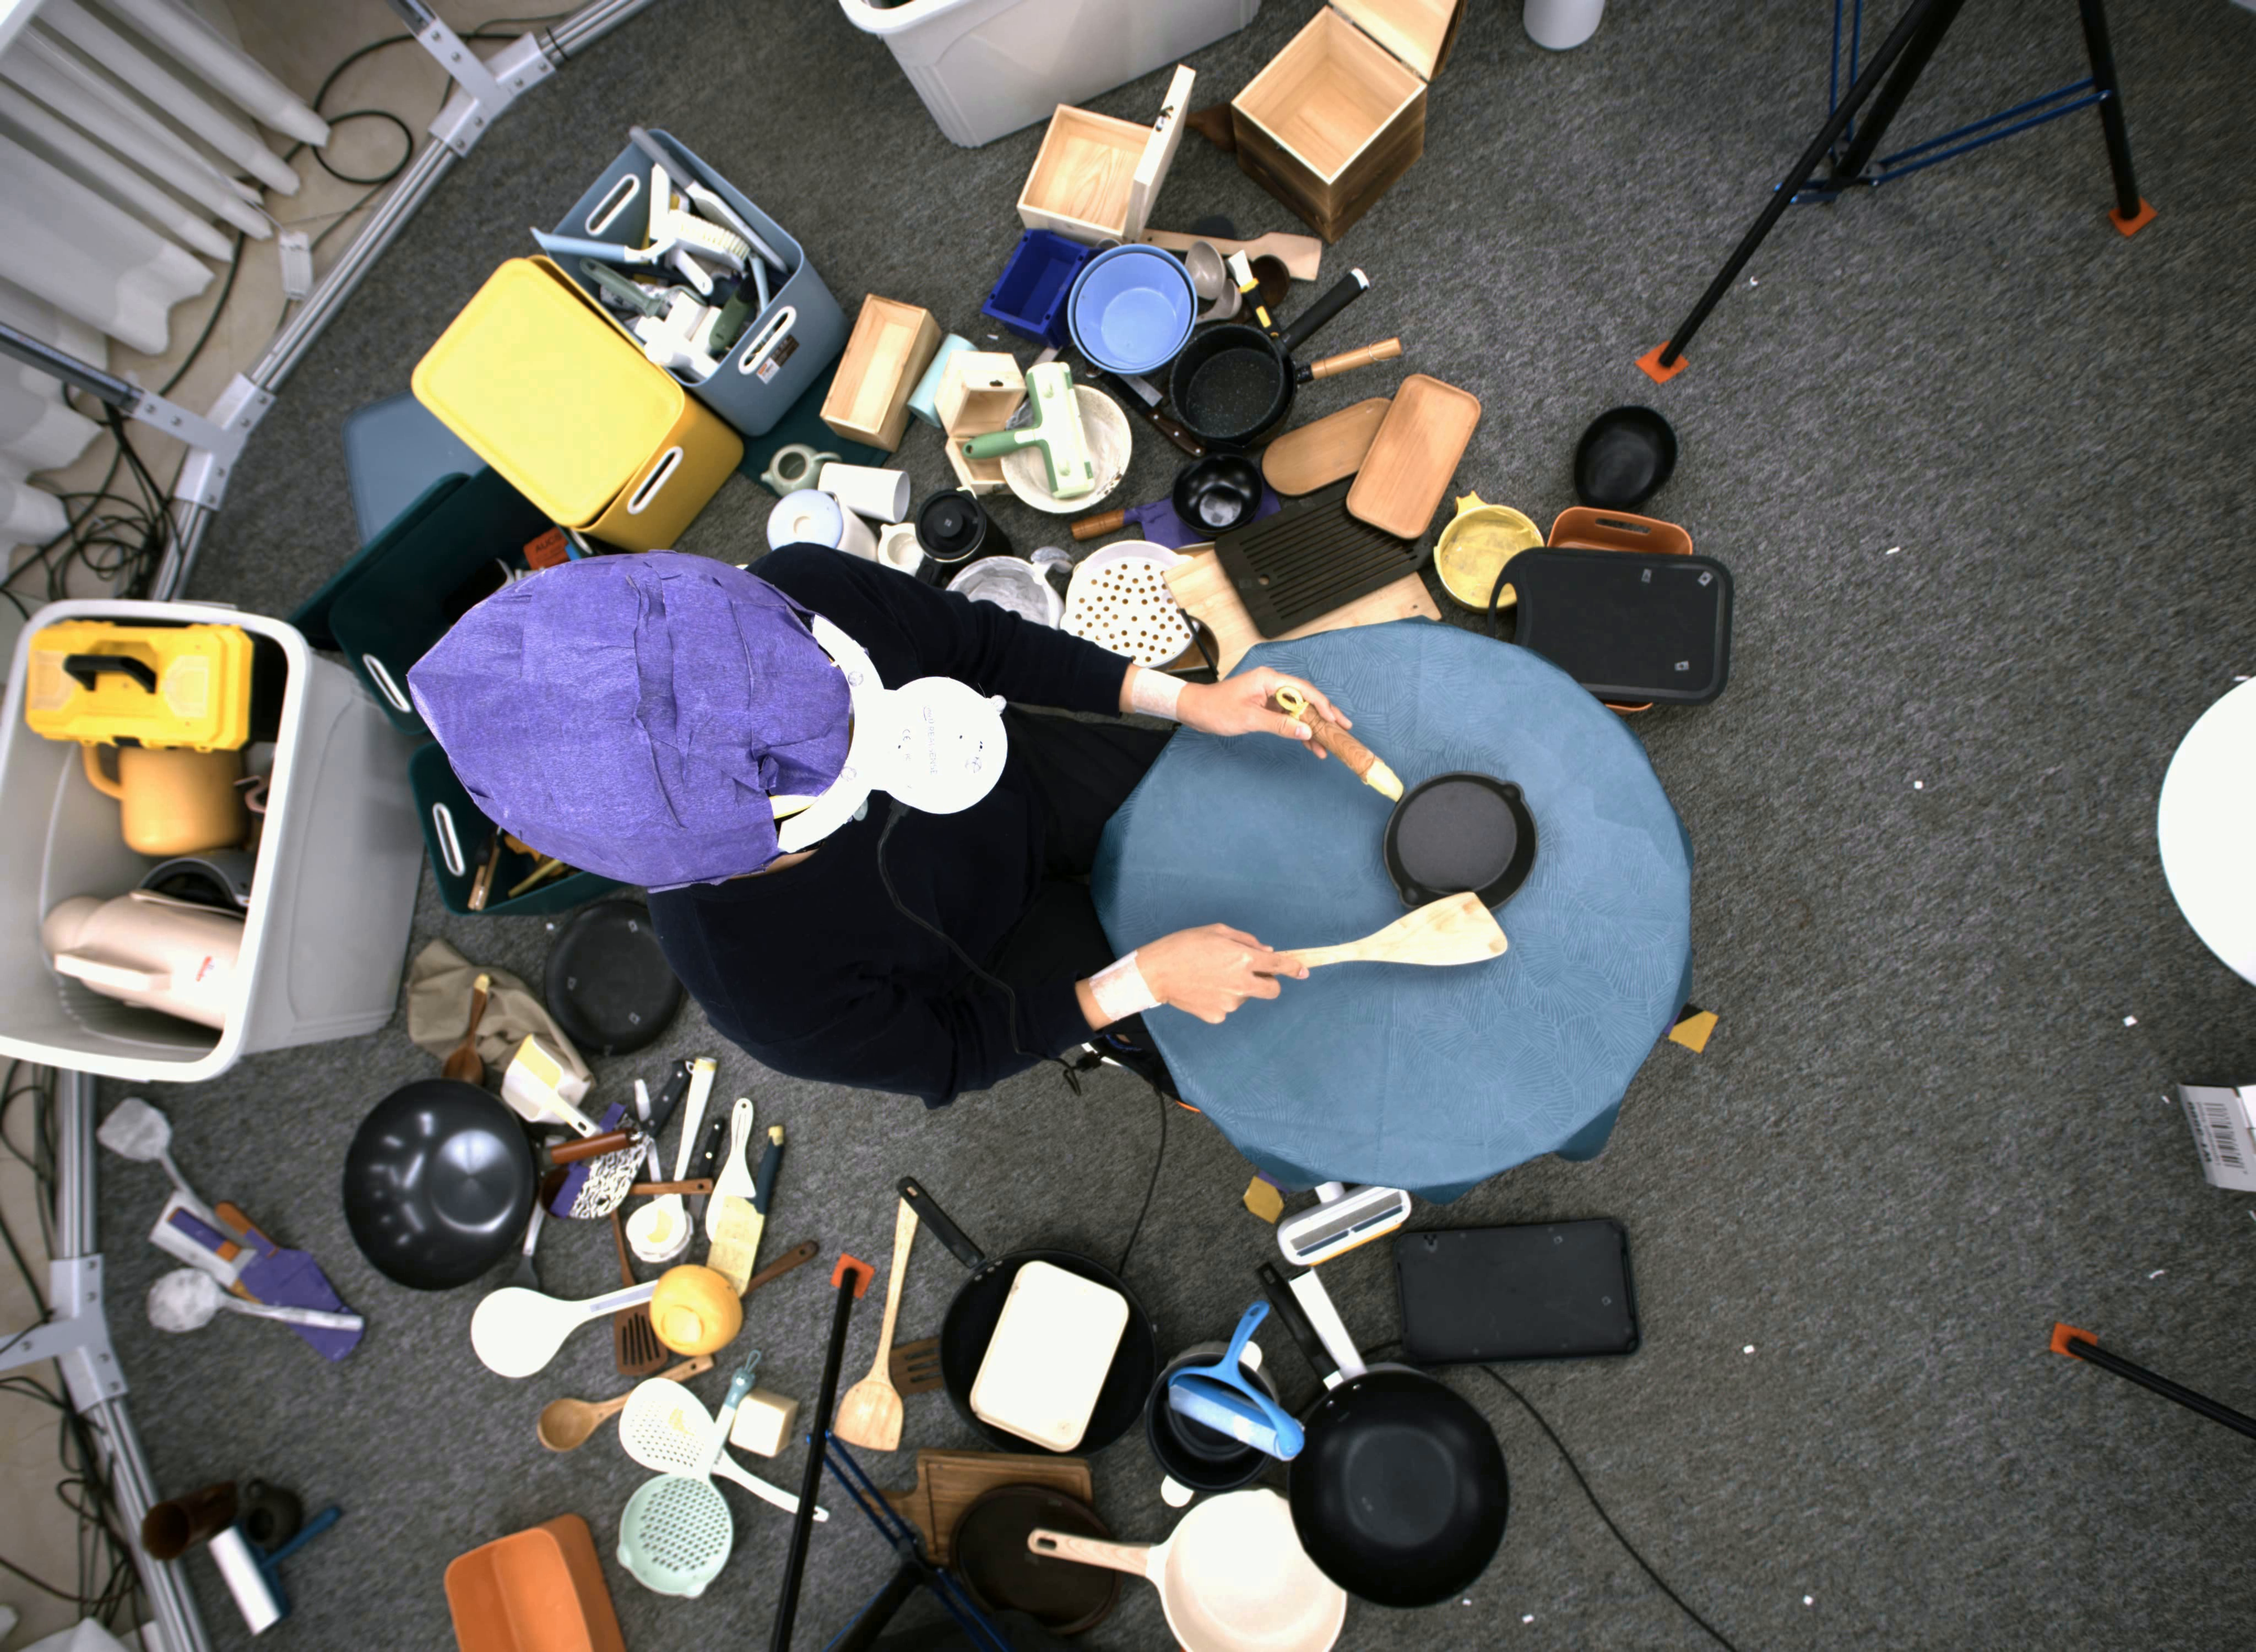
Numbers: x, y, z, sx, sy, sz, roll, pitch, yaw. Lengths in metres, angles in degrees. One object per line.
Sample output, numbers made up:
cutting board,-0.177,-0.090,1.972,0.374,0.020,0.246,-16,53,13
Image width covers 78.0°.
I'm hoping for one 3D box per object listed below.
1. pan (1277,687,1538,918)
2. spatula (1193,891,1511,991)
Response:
pan,0.275,-0.038,1.392,0.325,0.048,0.171,41,108,-9
spatula,0.222,0.122,1.384,0.326,0.017,0.078,-9,59,-12
